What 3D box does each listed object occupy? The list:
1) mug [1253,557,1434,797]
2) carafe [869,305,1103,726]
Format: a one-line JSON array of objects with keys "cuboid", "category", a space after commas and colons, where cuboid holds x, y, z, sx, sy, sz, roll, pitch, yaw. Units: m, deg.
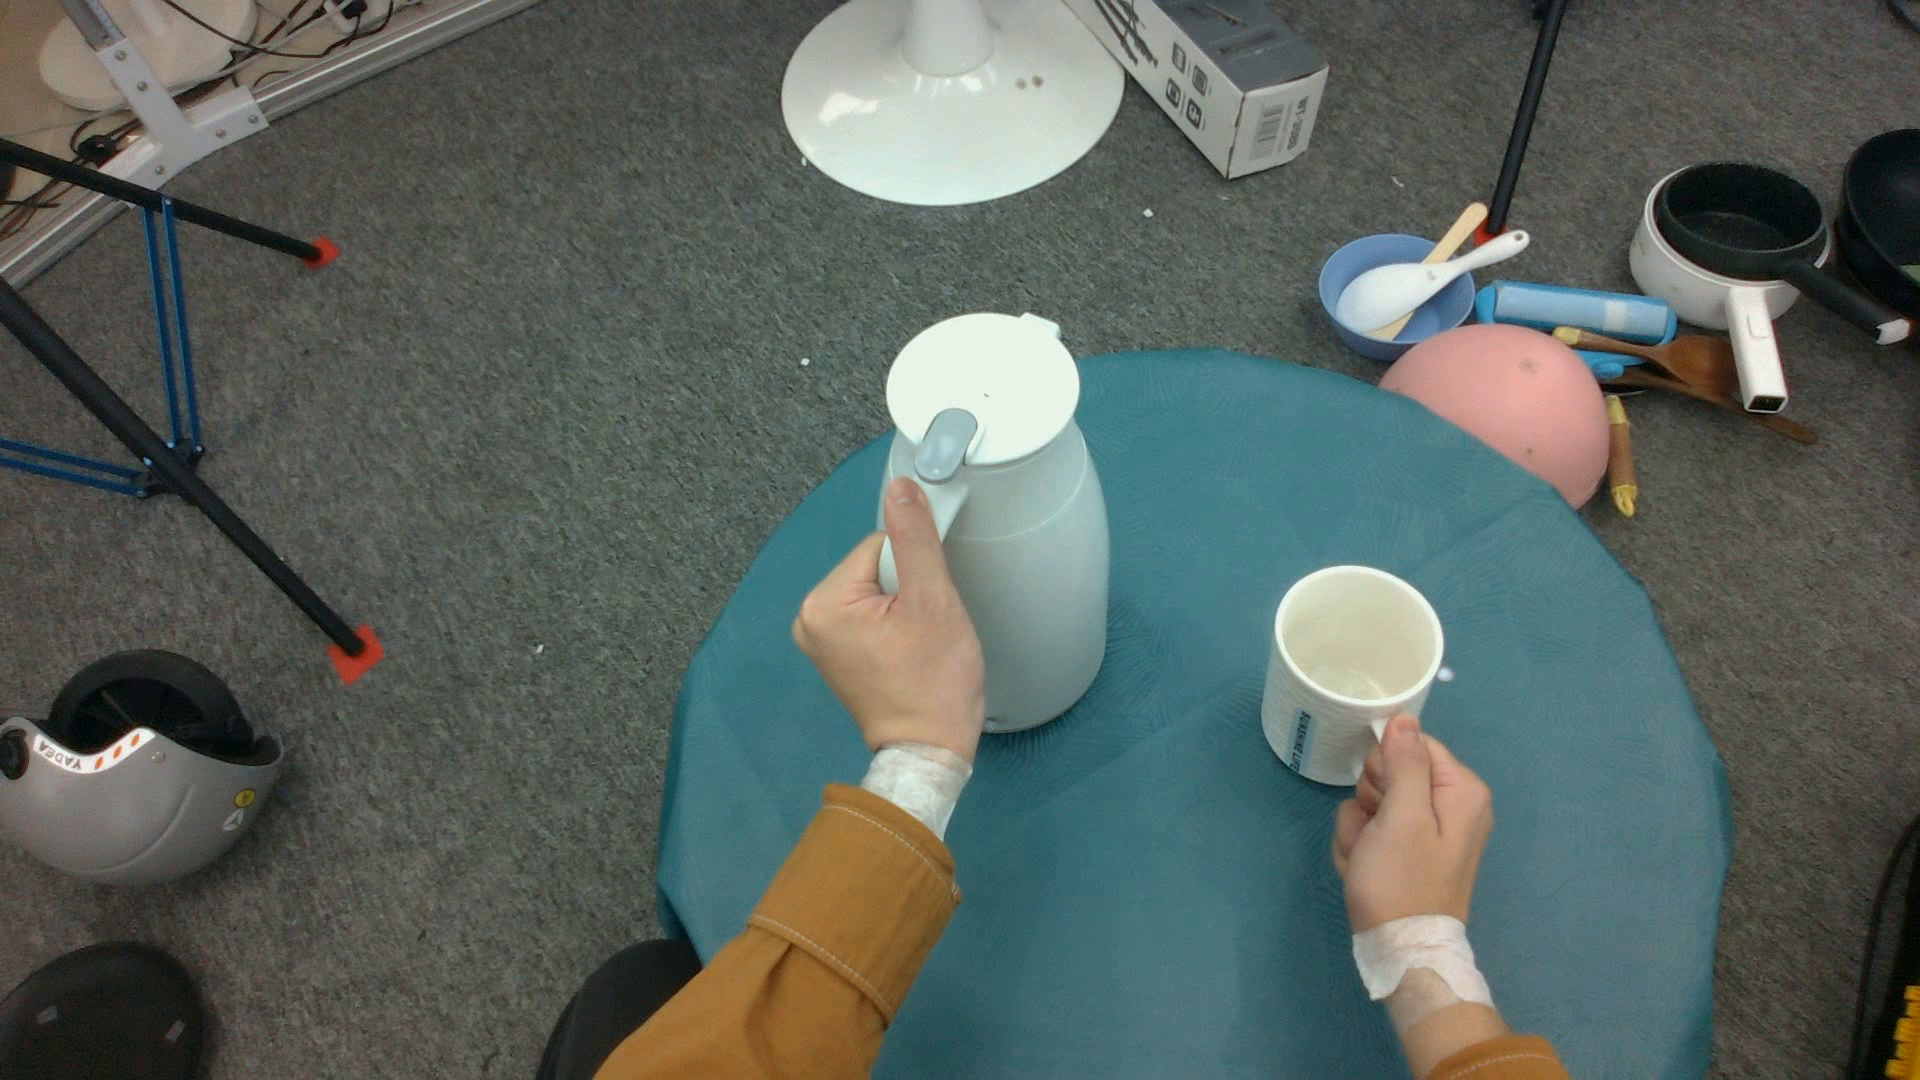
[{"cuboid": [0.213, 0.085, 0.755, 0.085, 0.101, 0.118, -13, 54, -4], "category": "mug"}, {"cuboid": [0.006, 0.002, 0.733, 0.132, 0.247, 0.168, 22, 61, 16], "category": "carafe"}]
